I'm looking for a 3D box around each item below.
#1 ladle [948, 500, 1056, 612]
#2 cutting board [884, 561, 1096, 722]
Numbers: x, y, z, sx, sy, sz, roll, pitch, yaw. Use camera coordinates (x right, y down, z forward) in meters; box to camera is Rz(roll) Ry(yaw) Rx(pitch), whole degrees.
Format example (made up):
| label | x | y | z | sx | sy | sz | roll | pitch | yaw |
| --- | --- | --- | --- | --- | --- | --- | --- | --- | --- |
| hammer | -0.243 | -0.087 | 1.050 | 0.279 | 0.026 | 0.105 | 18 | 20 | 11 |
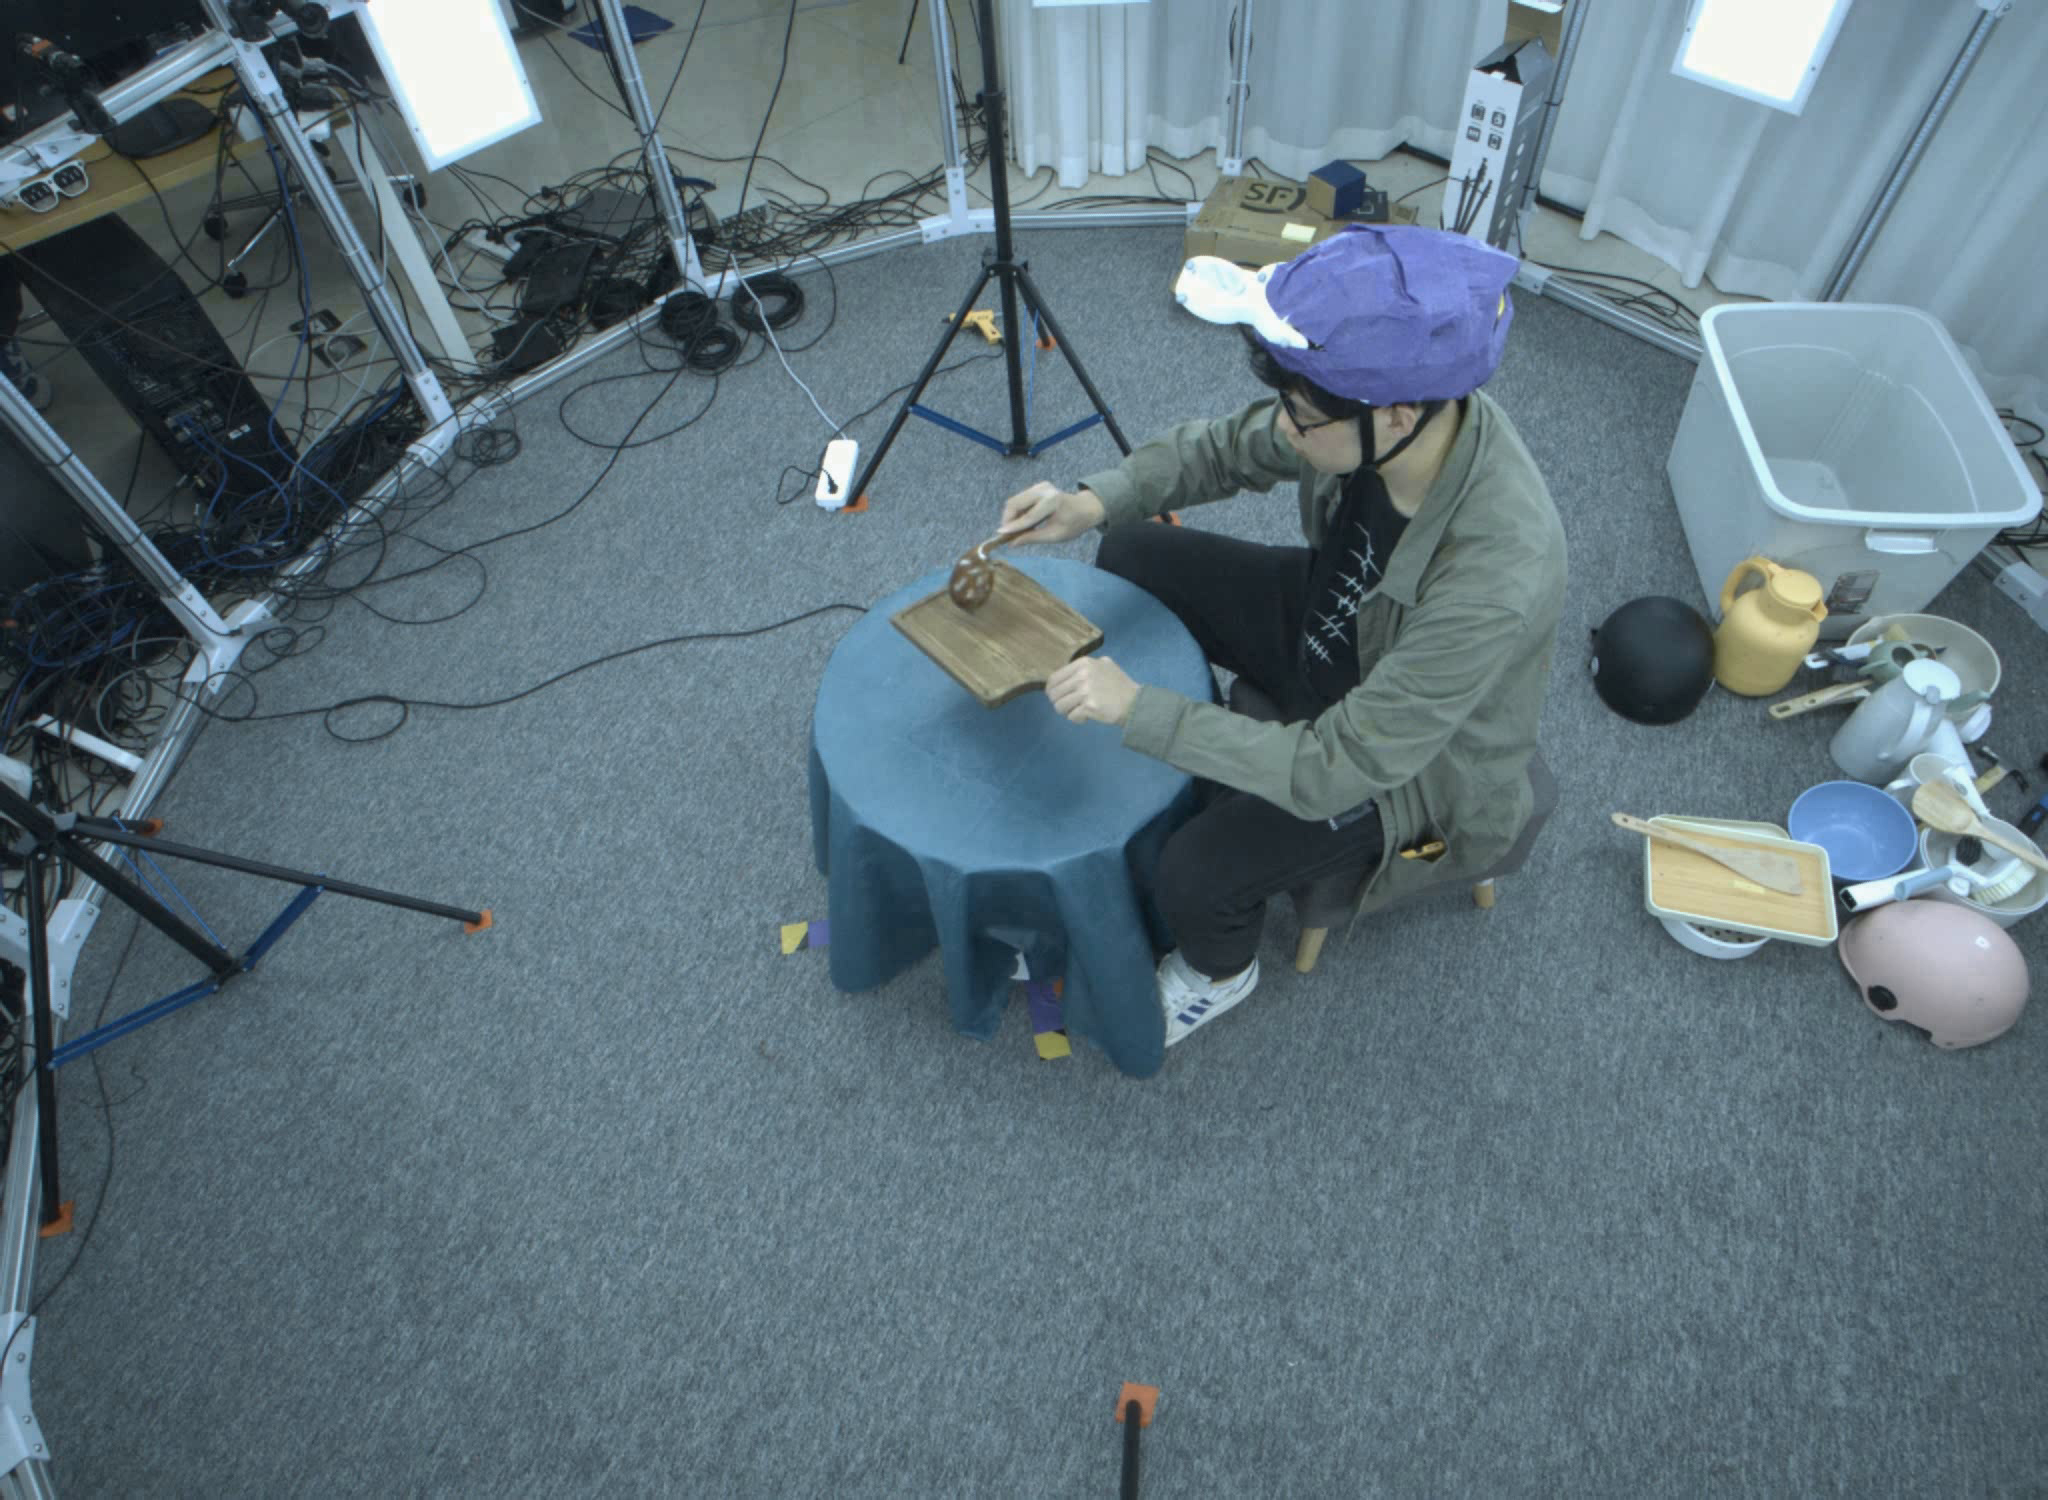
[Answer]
| label | x | y | z | sx | sy | sz | roll | pitch | yaw |
| --- | --- | --- | --- | --- | --- | --- | --- | --- | --- |
| ladle | -0.017 | -0.280 | 1.747 | 0.080 | 0.077 | 0.276 | -11 | 21 | 41 |
| cutting board | -0.023 | -0.137 | 1.672 | 0.203 | 0.023 | 0.344 | -30 | 50 | -21 |
